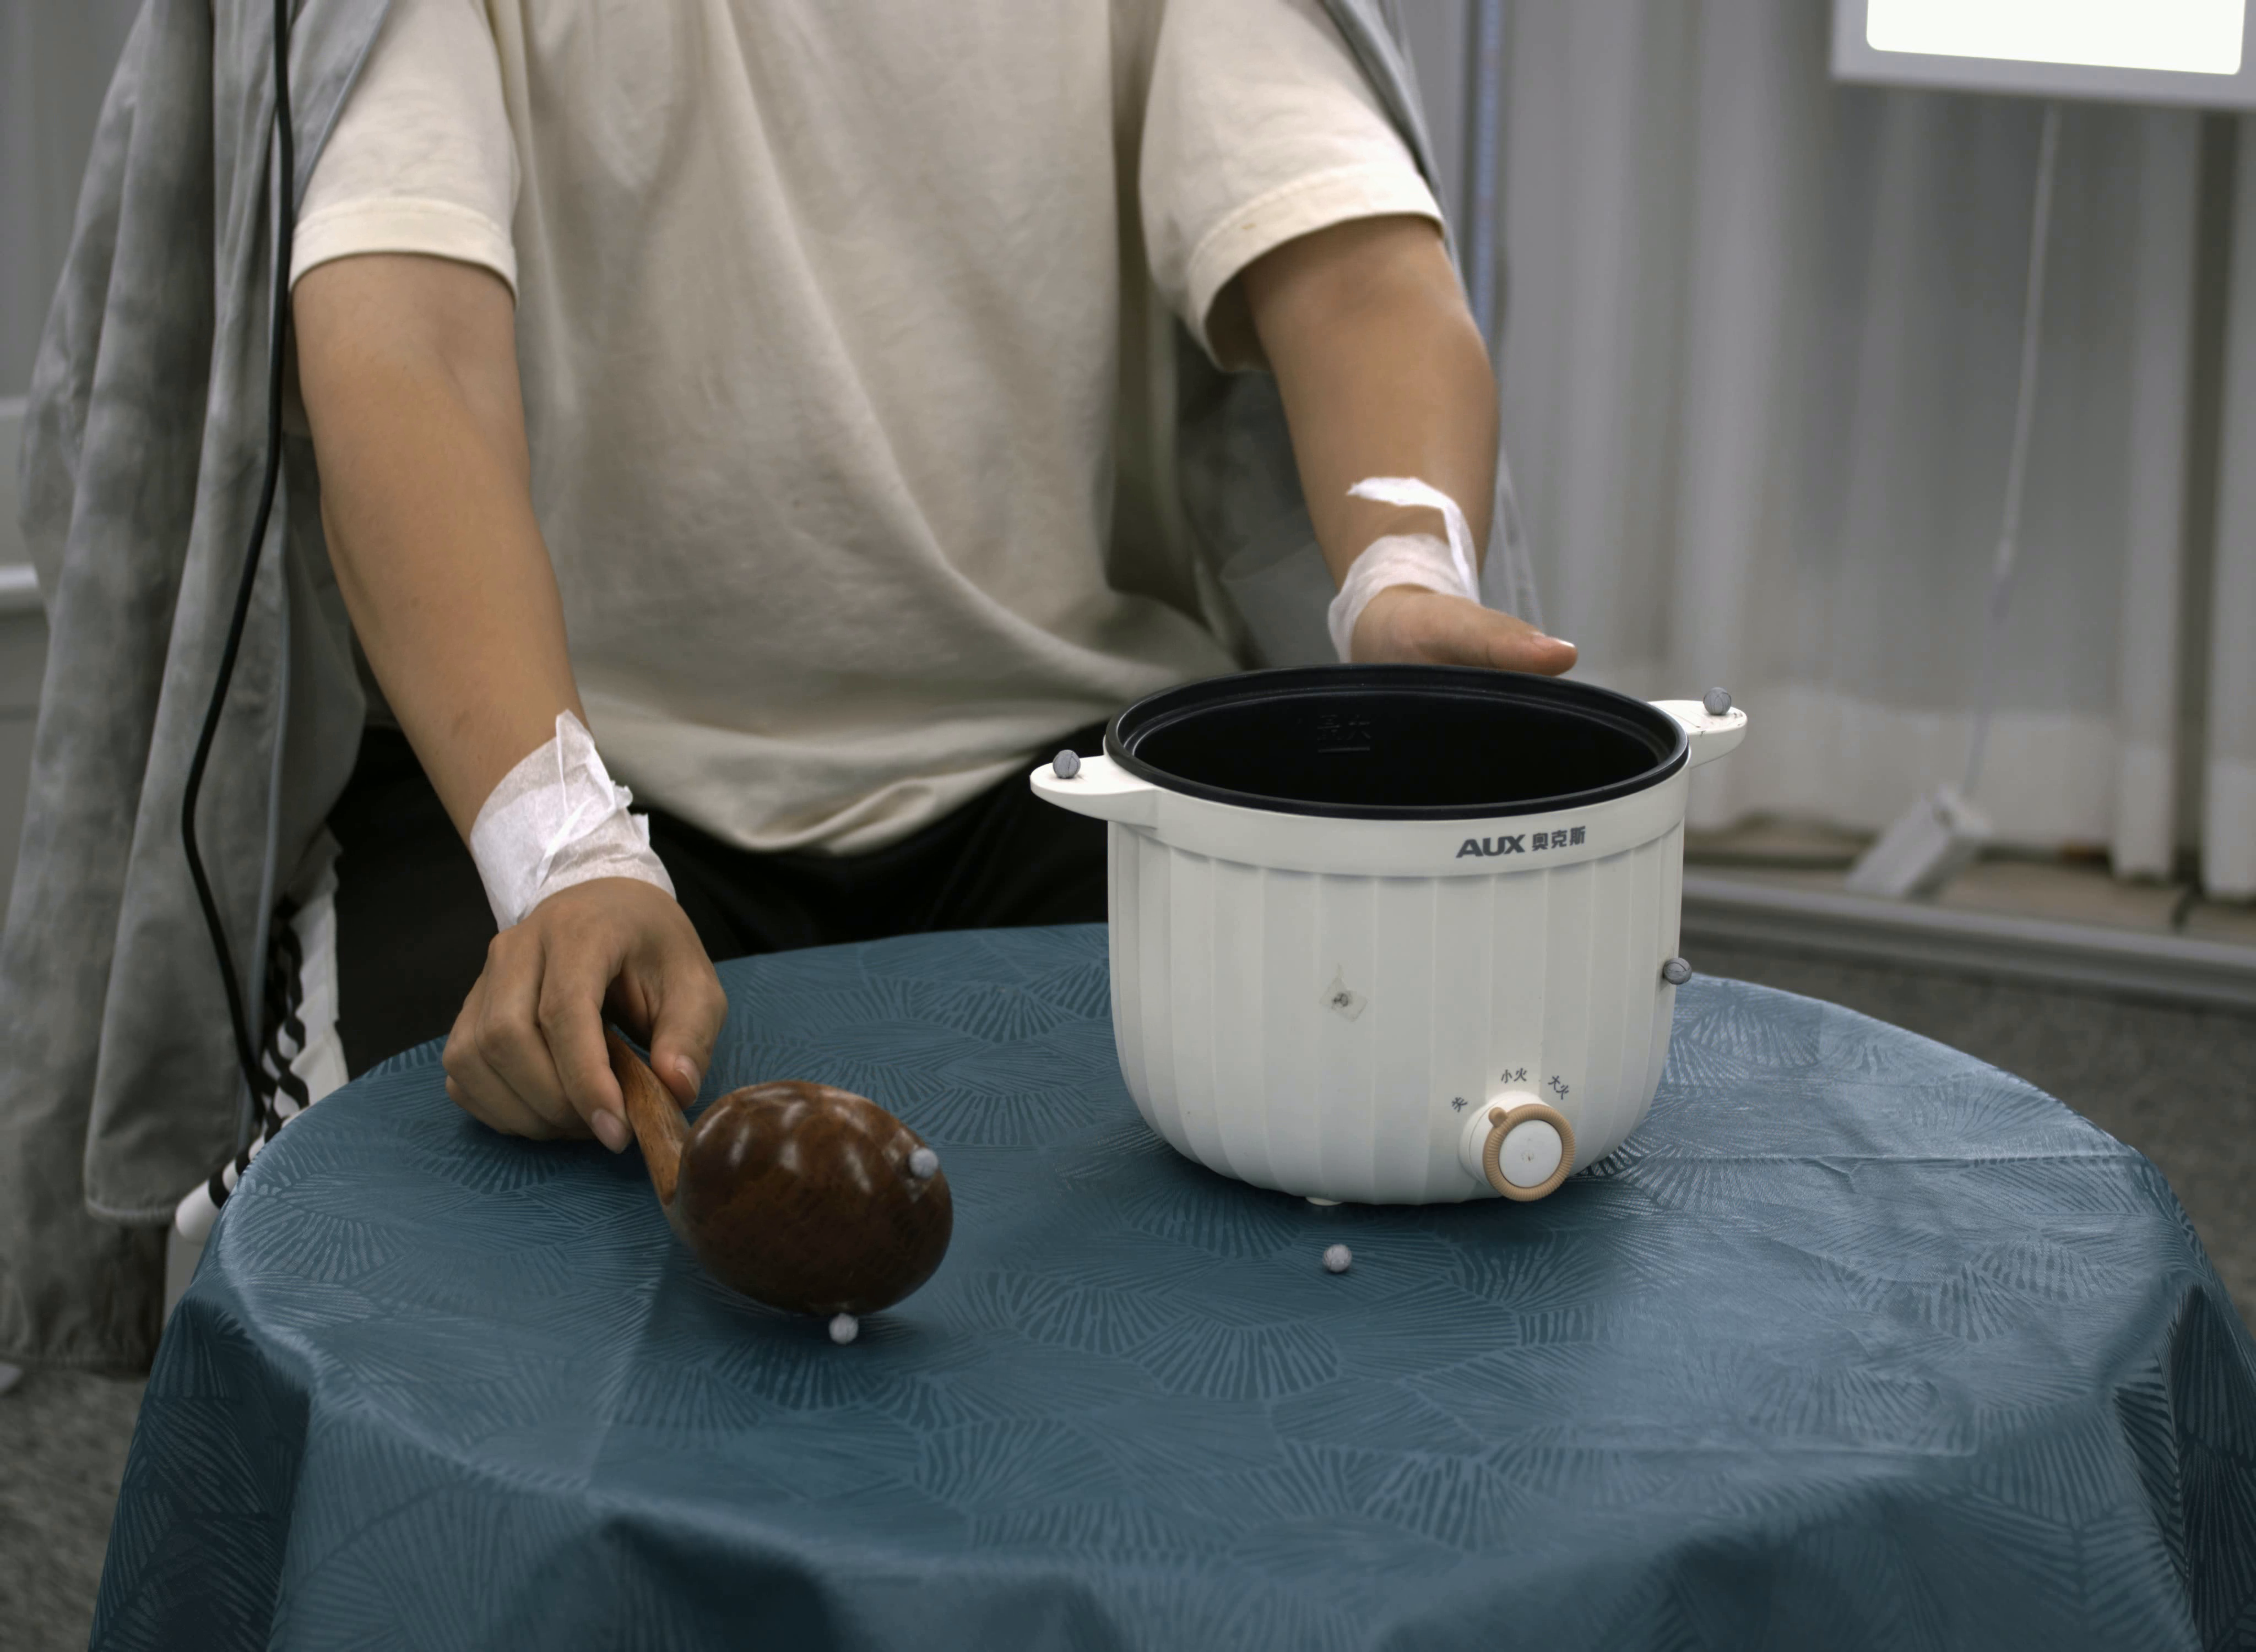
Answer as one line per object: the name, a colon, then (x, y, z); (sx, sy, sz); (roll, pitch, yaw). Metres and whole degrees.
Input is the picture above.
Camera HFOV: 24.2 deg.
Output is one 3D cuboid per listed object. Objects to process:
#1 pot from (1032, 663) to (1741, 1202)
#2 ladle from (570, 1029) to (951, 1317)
pot: (0.086, 0.035, 1.645); (0.241, 0.144, 0.188); (-7, 14, -22)
ladle: (-0.118, 0.083, 1.593); (0.076, 0.083, 0.271); (-39, 19, -3)
